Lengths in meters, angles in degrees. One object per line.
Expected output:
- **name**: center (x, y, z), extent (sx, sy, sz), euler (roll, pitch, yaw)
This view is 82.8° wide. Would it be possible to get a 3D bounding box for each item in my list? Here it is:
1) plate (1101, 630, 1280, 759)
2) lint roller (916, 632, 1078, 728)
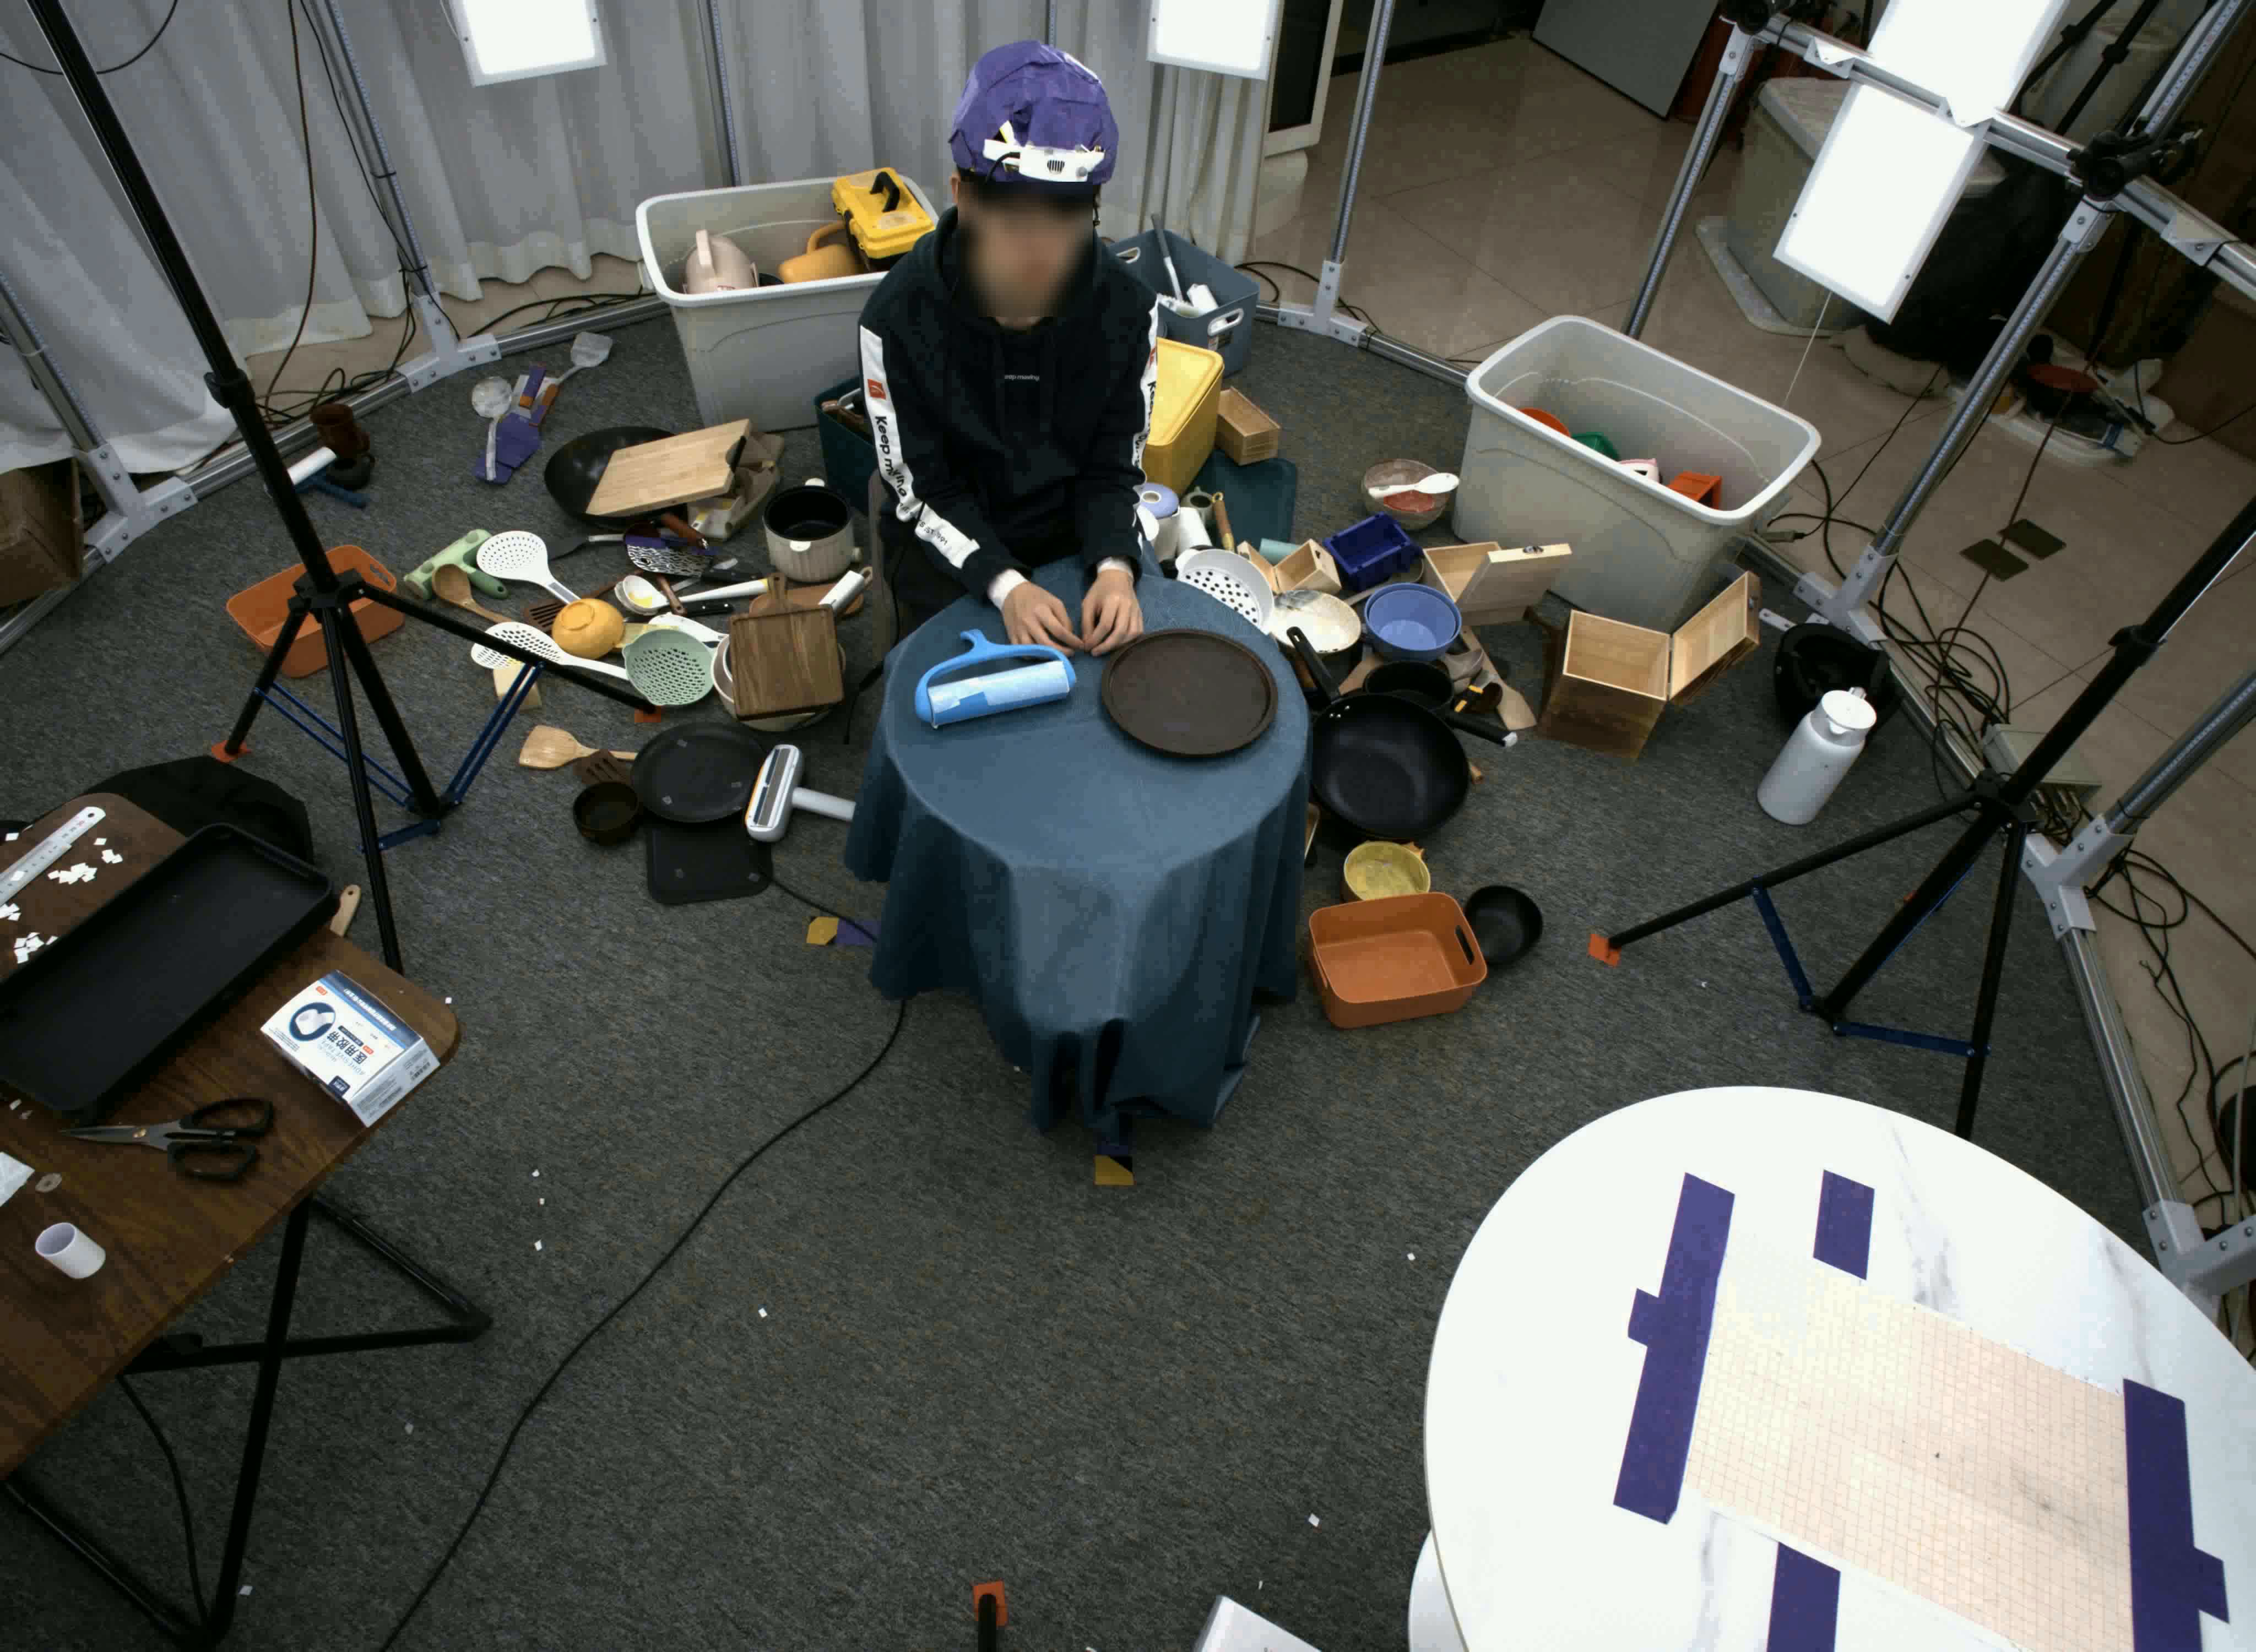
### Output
- **plate**: center (0.088, -0.189, 1.822), extent (0.254, 0.028, 0.261), euler (2, 49, -3)
- **lint roller**: center (-0.202, -0.228, 1.816), extent (0.229, 0.066, 0.184), euler (-17, 53, -16)
